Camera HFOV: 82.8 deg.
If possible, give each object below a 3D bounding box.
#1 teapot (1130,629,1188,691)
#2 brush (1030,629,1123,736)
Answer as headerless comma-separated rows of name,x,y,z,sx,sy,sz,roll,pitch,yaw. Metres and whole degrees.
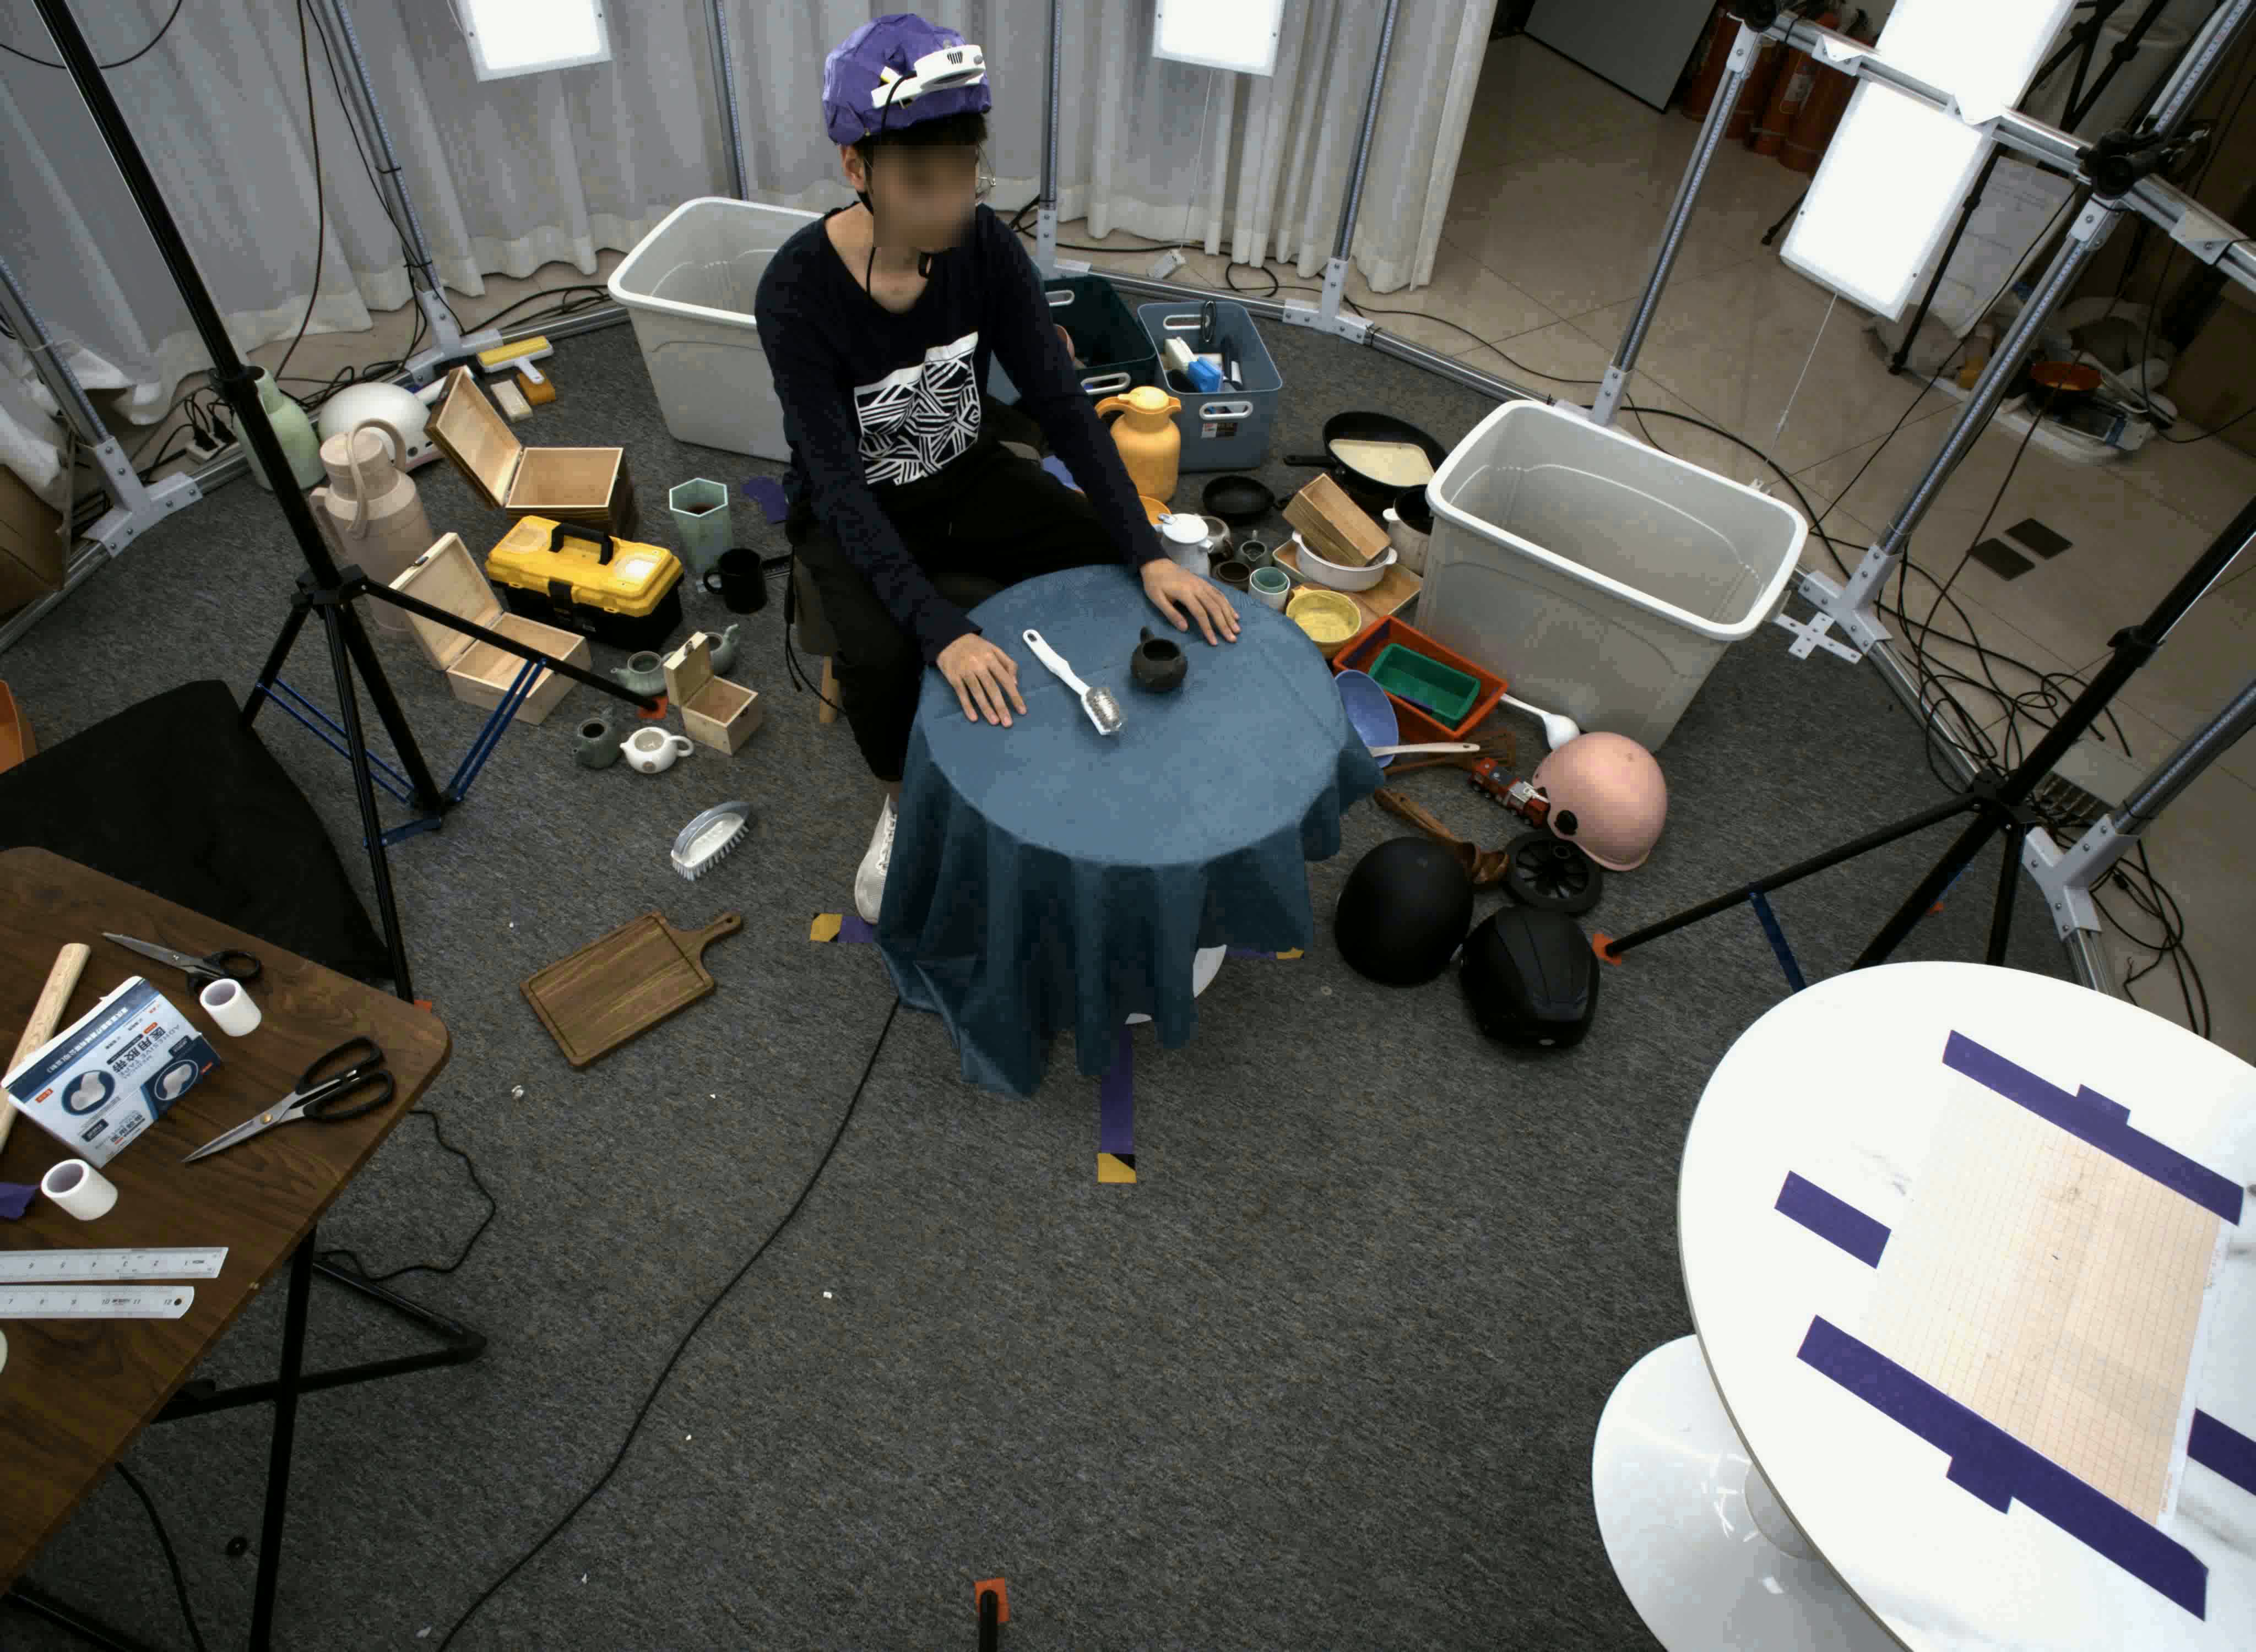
teapot,0.041,-0.241,1.847,0.083,0.052,0.117,-13,51,-14
brush,-0.078,-0.218,1.821,0.034,0.049,0.249,-23,54,-17
